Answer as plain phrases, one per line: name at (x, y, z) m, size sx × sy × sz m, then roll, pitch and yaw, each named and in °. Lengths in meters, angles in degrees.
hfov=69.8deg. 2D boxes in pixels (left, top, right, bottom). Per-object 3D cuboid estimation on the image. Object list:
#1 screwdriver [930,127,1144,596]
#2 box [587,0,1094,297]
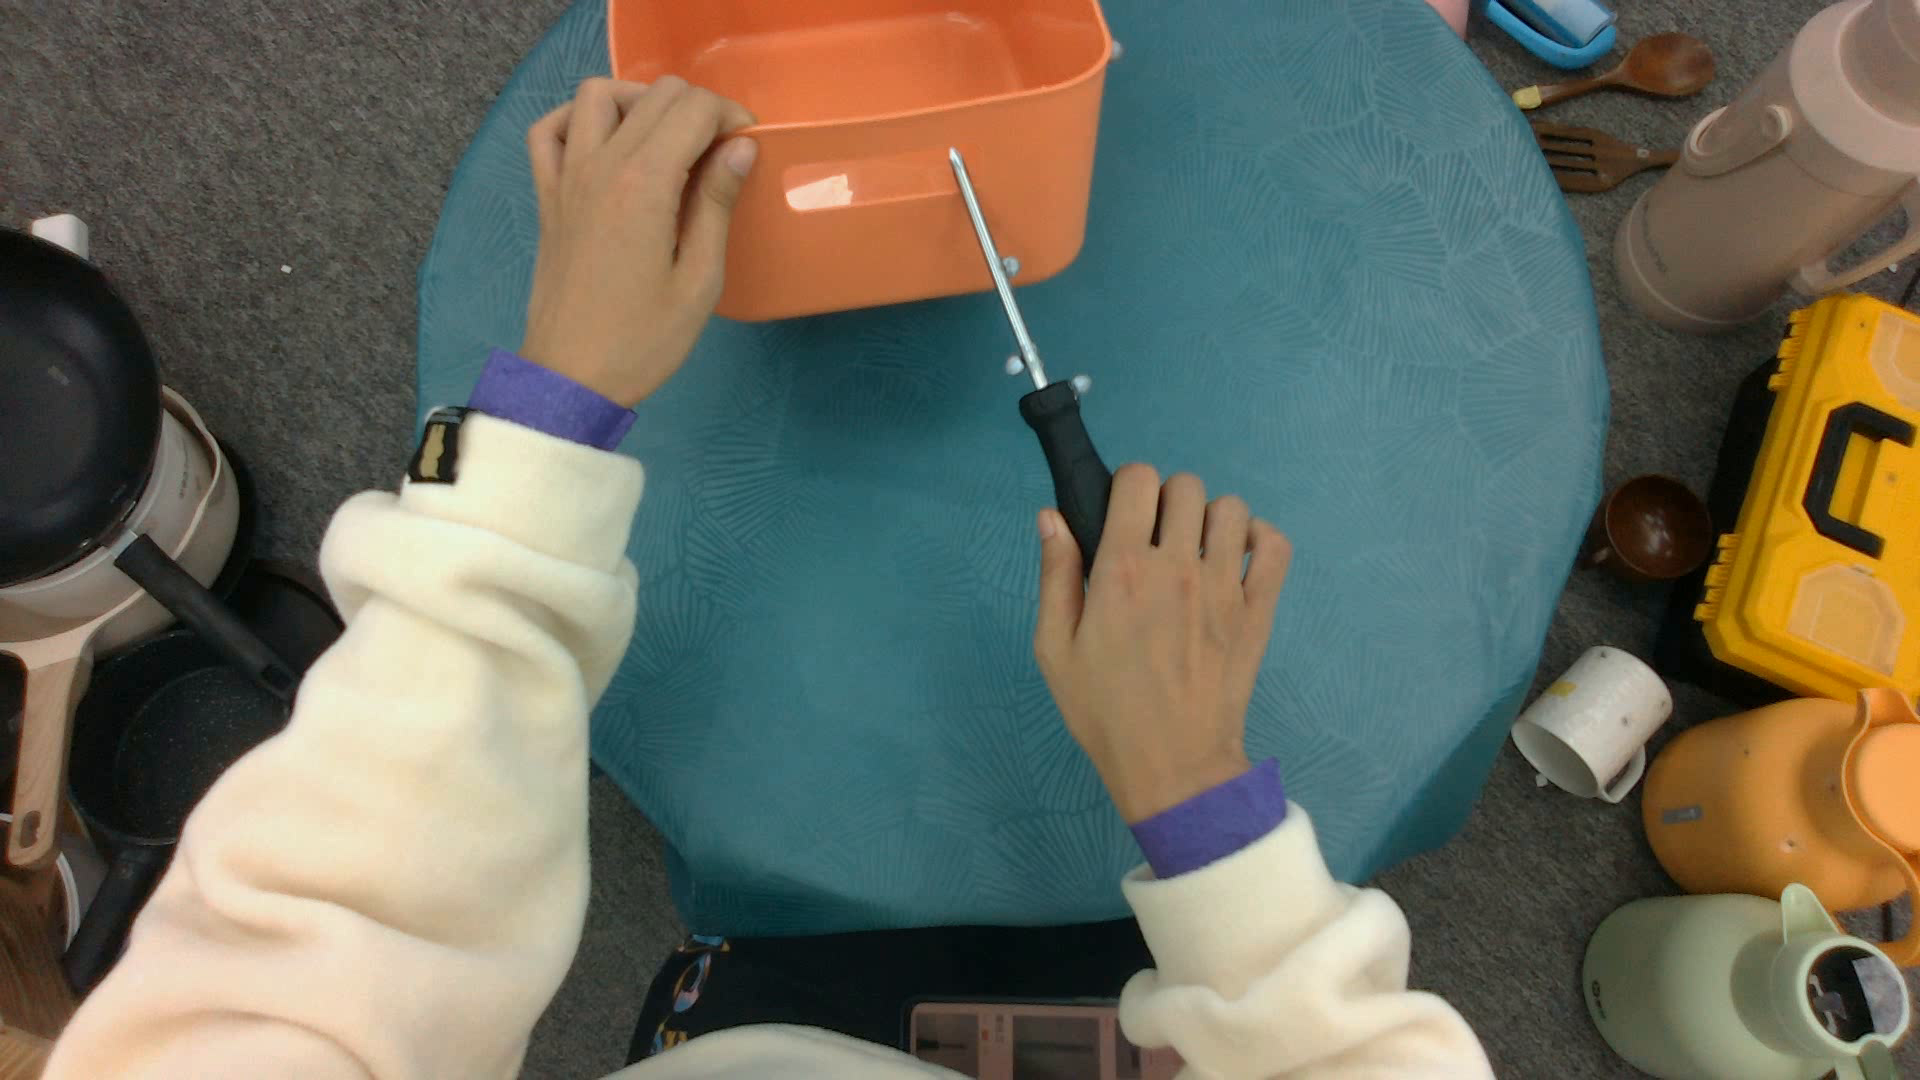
screwdriver at (0.029, -0.071, 0.542) m, size 0.031 × 0.031 × 0.196 m, roll -21°, pitch 91°, yaw -8°
box at (-0.060, -0.227, 0.626) m, size 0.199 × 0.102 × 0.274 m, roll -9°, pitch 47°, yaw -6°
